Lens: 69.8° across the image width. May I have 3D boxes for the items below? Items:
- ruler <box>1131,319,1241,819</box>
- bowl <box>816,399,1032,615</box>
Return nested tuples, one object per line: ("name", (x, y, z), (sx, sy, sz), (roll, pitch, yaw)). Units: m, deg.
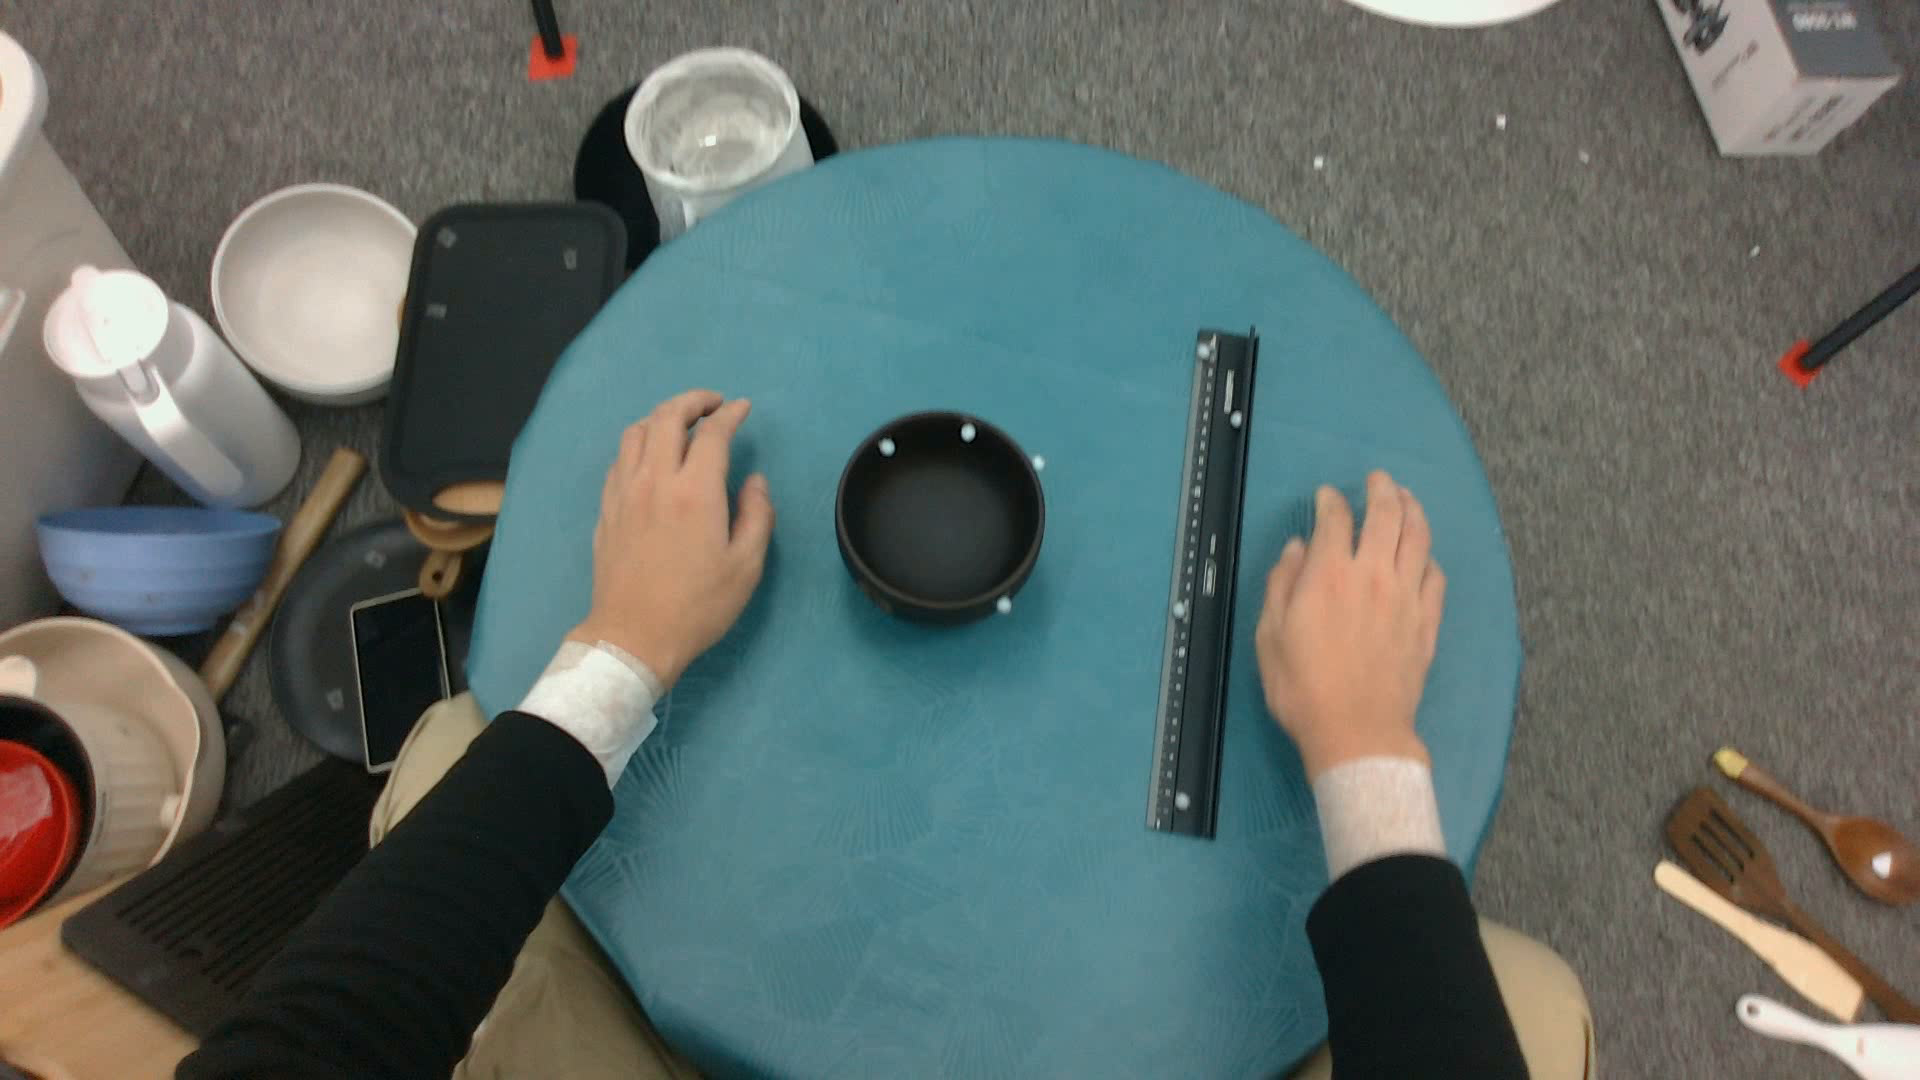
("ruler", (0.136, 0.005, 0.806), (0.039, 0.017, 0.313), (8, 68, 3))
("bowl", (-0.021, -0.012, 0.768), (0.118, 0.069, 0.118), (2, 68, -4))
